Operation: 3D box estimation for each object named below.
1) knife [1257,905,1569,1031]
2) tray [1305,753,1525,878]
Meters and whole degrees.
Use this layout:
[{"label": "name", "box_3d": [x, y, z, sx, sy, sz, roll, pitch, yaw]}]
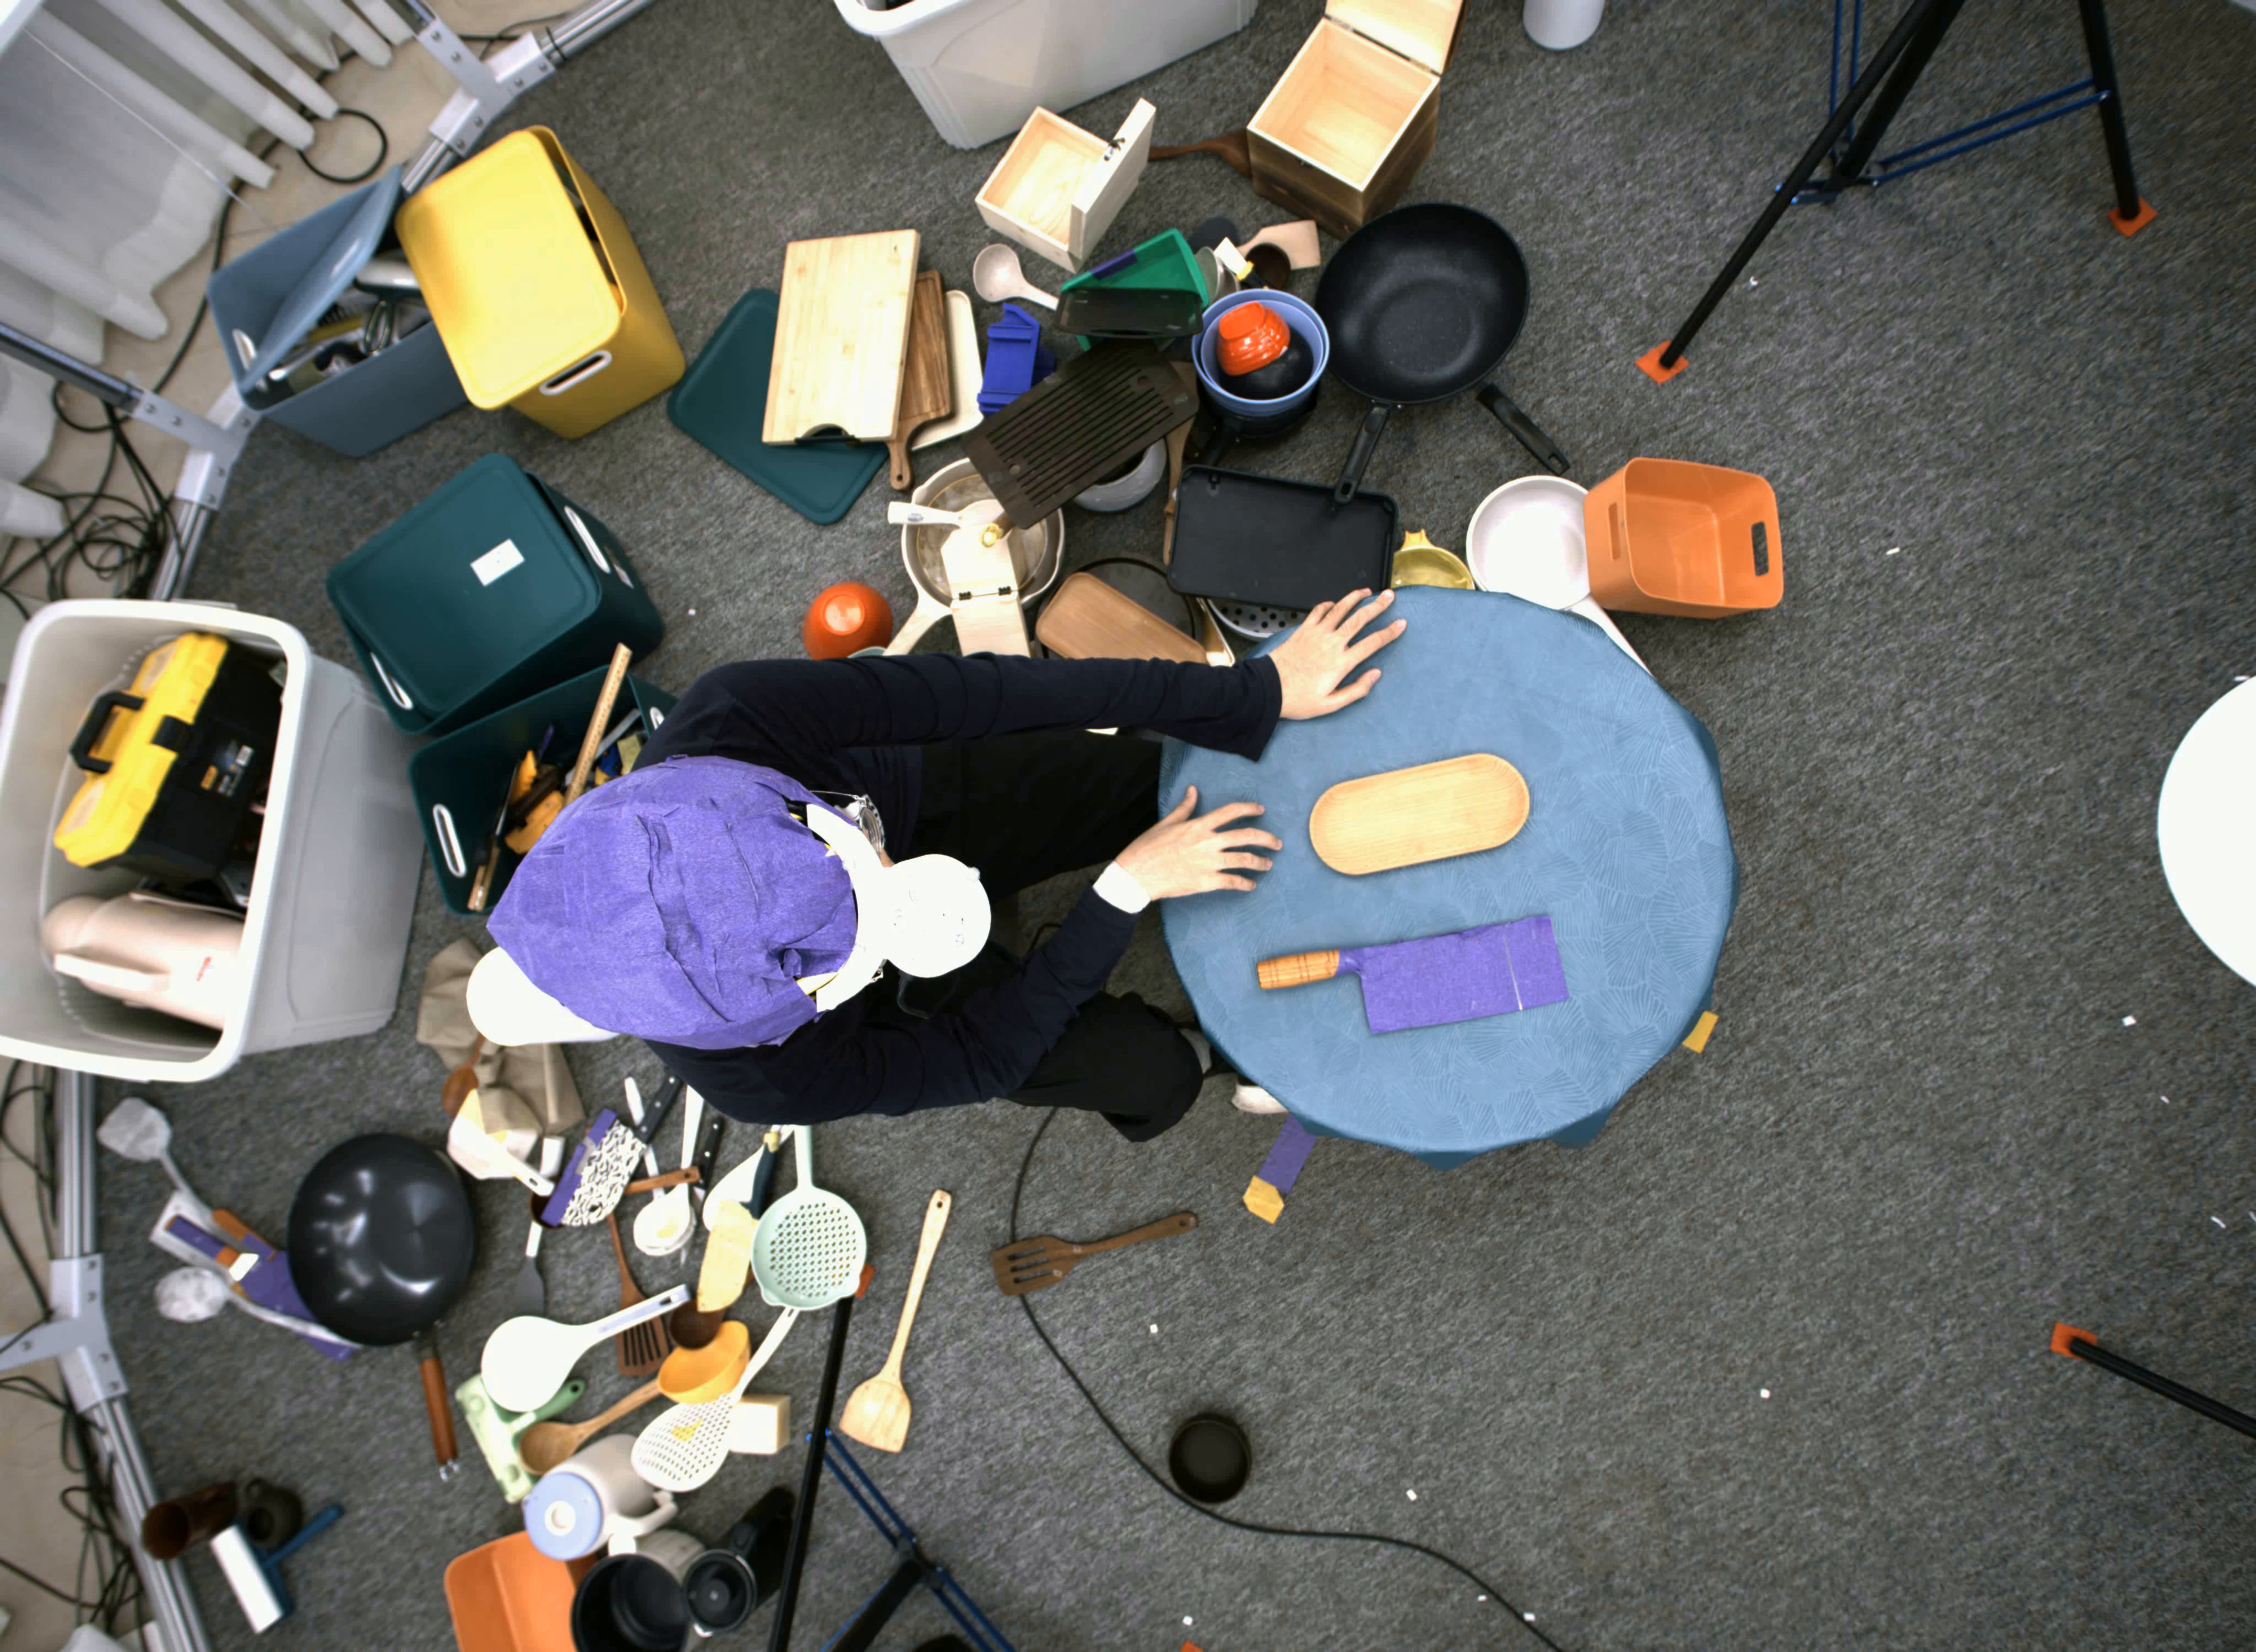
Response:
[{"label": "knife", "box_3d": [0.296, 0.160, 1.437, 0.317, 0.032, 0.103, -12, 84, 9]}, {"label": "tray", "box_3d": [0.302, -0.012, 1.451, 0.232, 0.020, 0.101, -14, 83, 12]}]
